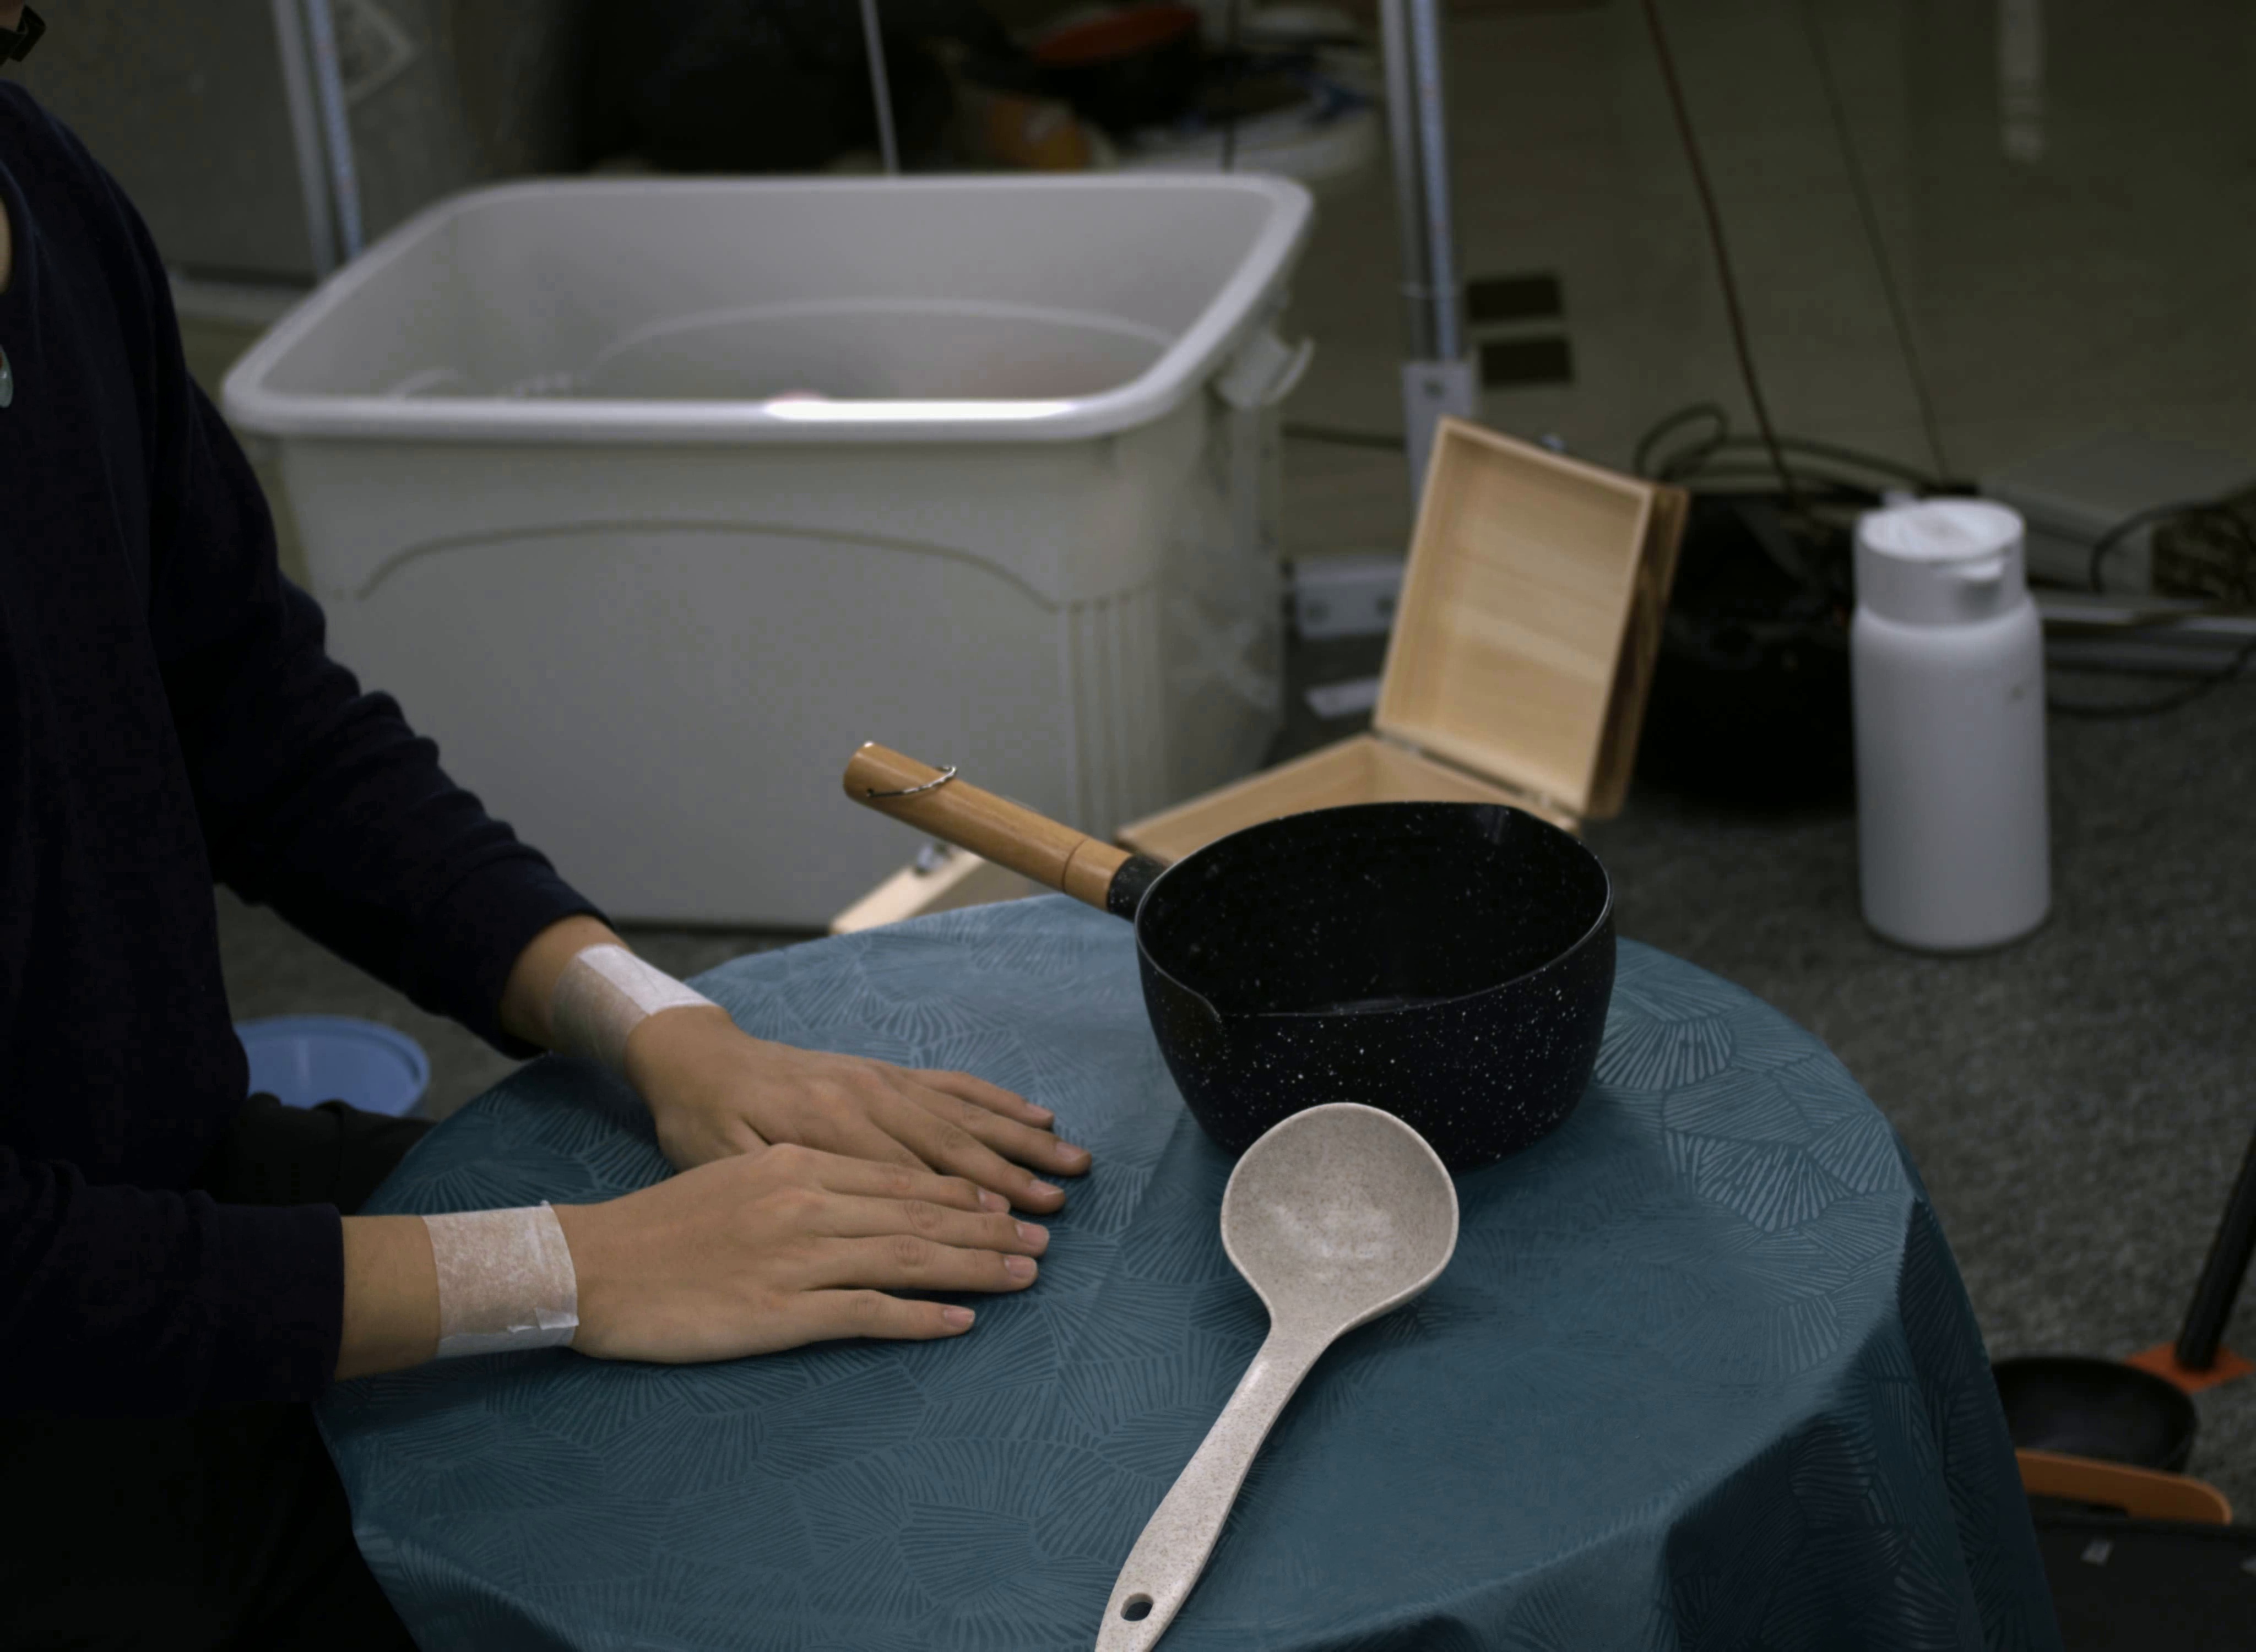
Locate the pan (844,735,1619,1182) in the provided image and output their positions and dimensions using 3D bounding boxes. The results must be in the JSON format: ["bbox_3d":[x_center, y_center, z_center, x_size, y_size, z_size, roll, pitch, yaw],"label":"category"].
[{"bbox_3d":[0.031,0.044,2.213,0.341,0.110,0.205,12,32,32],"label":"pan"}]

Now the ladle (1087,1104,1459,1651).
[{"bbox_3d":[0.039,0.188,1.952,0.089,0.070,0.271,10,29,18],"label":"ladle"}]
